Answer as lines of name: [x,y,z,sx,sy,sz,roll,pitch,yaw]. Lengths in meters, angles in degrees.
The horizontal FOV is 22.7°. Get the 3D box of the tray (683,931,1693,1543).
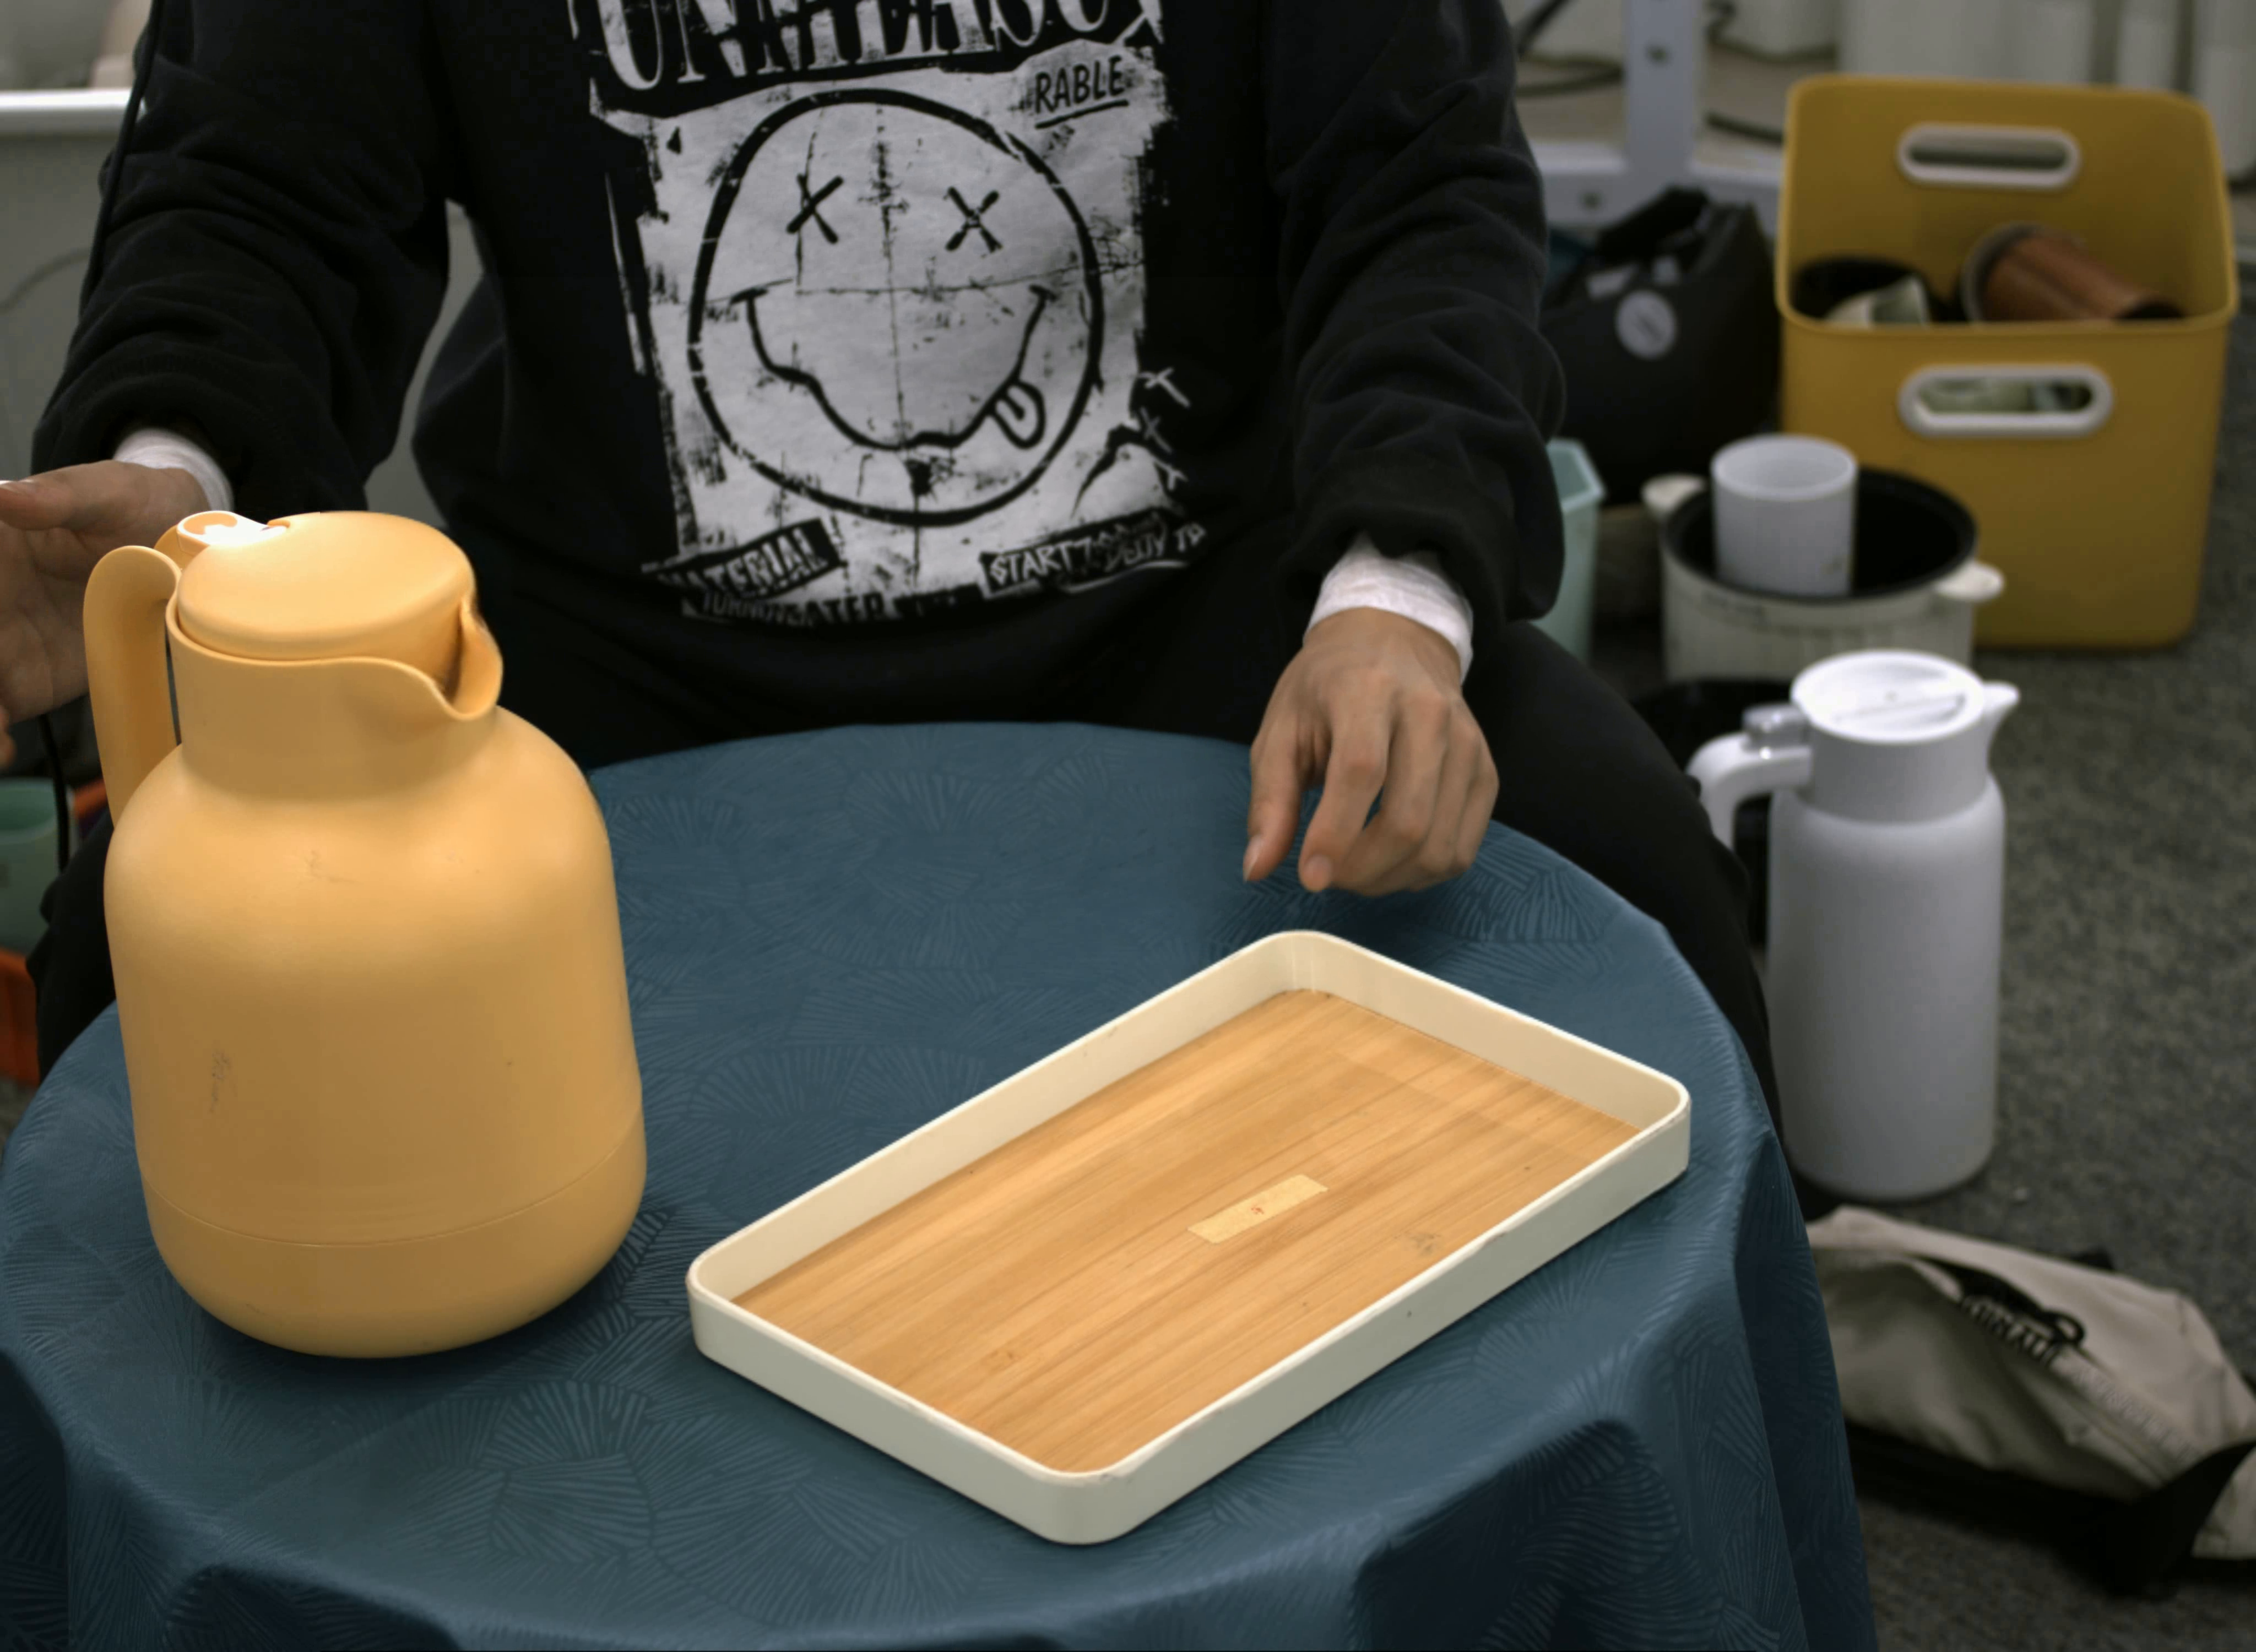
tray: [0.022,0.126,1.818,0.191,0.027,0.304,22,36,39]

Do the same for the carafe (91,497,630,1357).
carafe: [-0.256,0.022,1.796,0.165,0.258,0.202,-22,33,-38]
